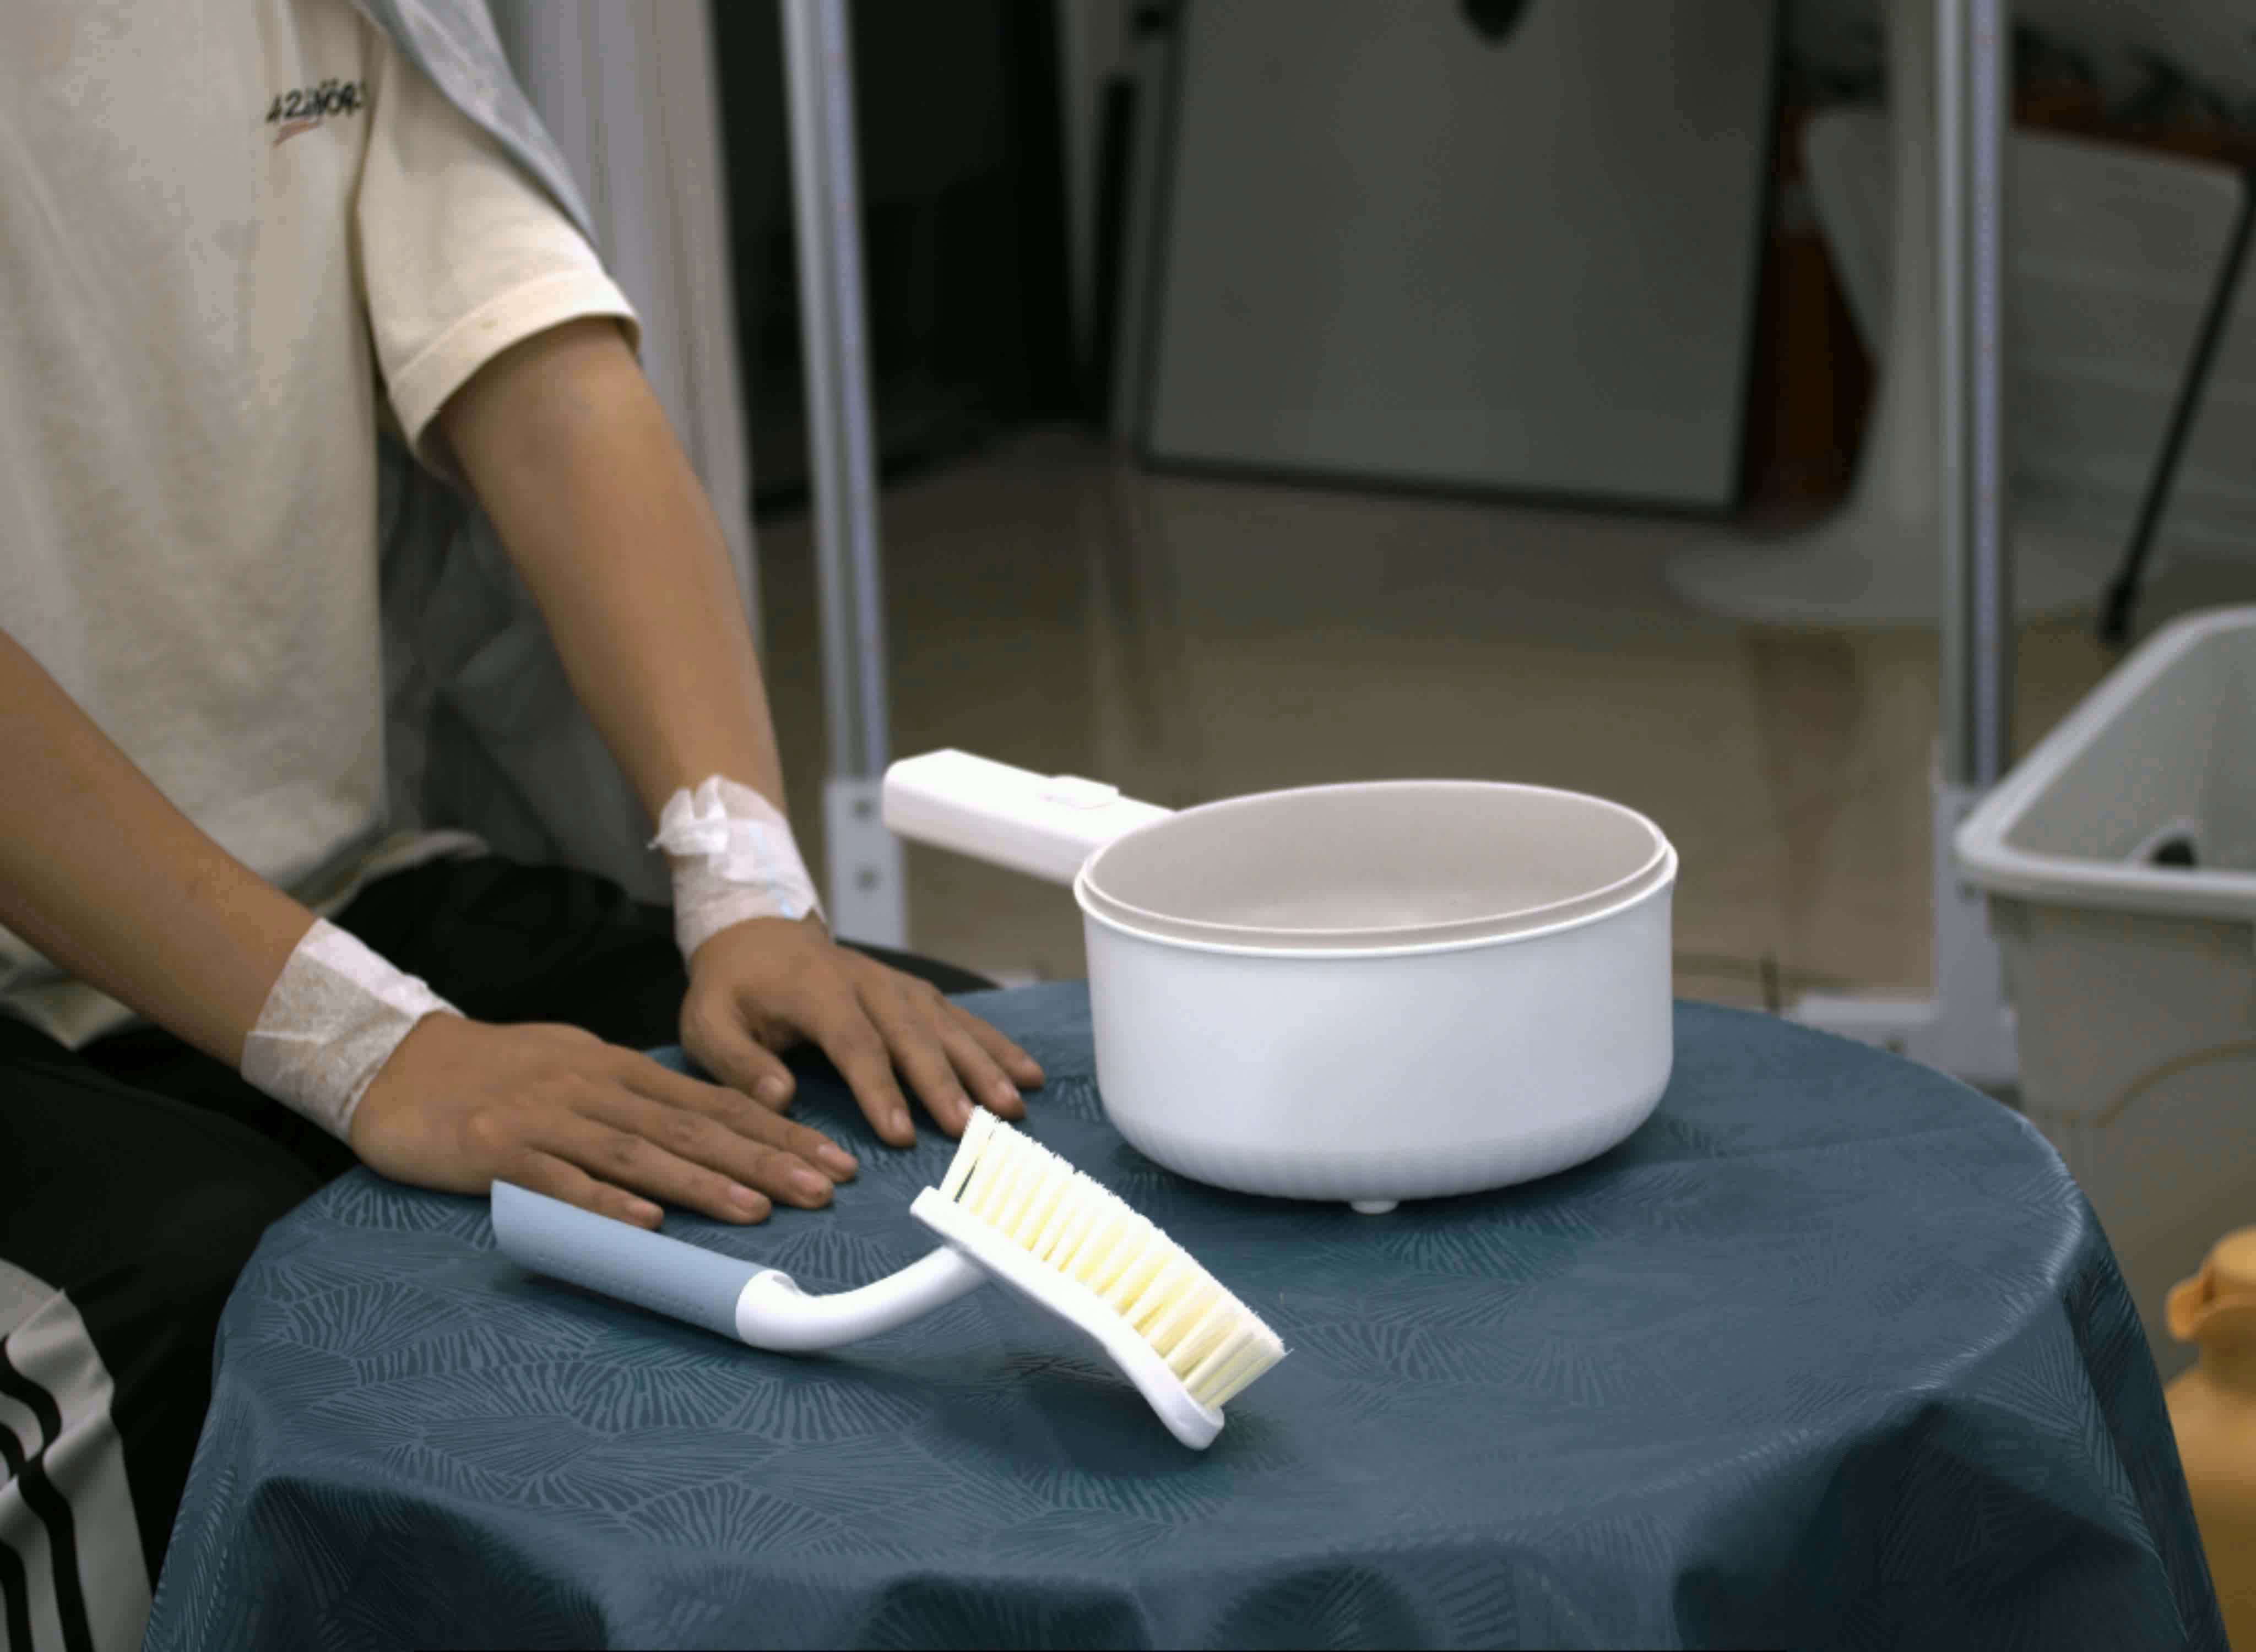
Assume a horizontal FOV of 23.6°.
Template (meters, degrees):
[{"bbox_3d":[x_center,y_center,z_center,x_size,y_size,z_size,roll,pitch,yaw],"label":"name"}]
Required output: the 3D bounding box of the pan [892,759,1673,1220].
[{"bbox_3d":[0.037,0.048,1.856,0.197,0.103,0.358,-15,17,-36],"label":"pan"}]

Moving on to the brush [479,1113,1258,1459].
[{"bbox_3d":[-0.080,0.118,1.640,0.083,0.084,0.328,-23,24,-39],"label":"brush"}]
